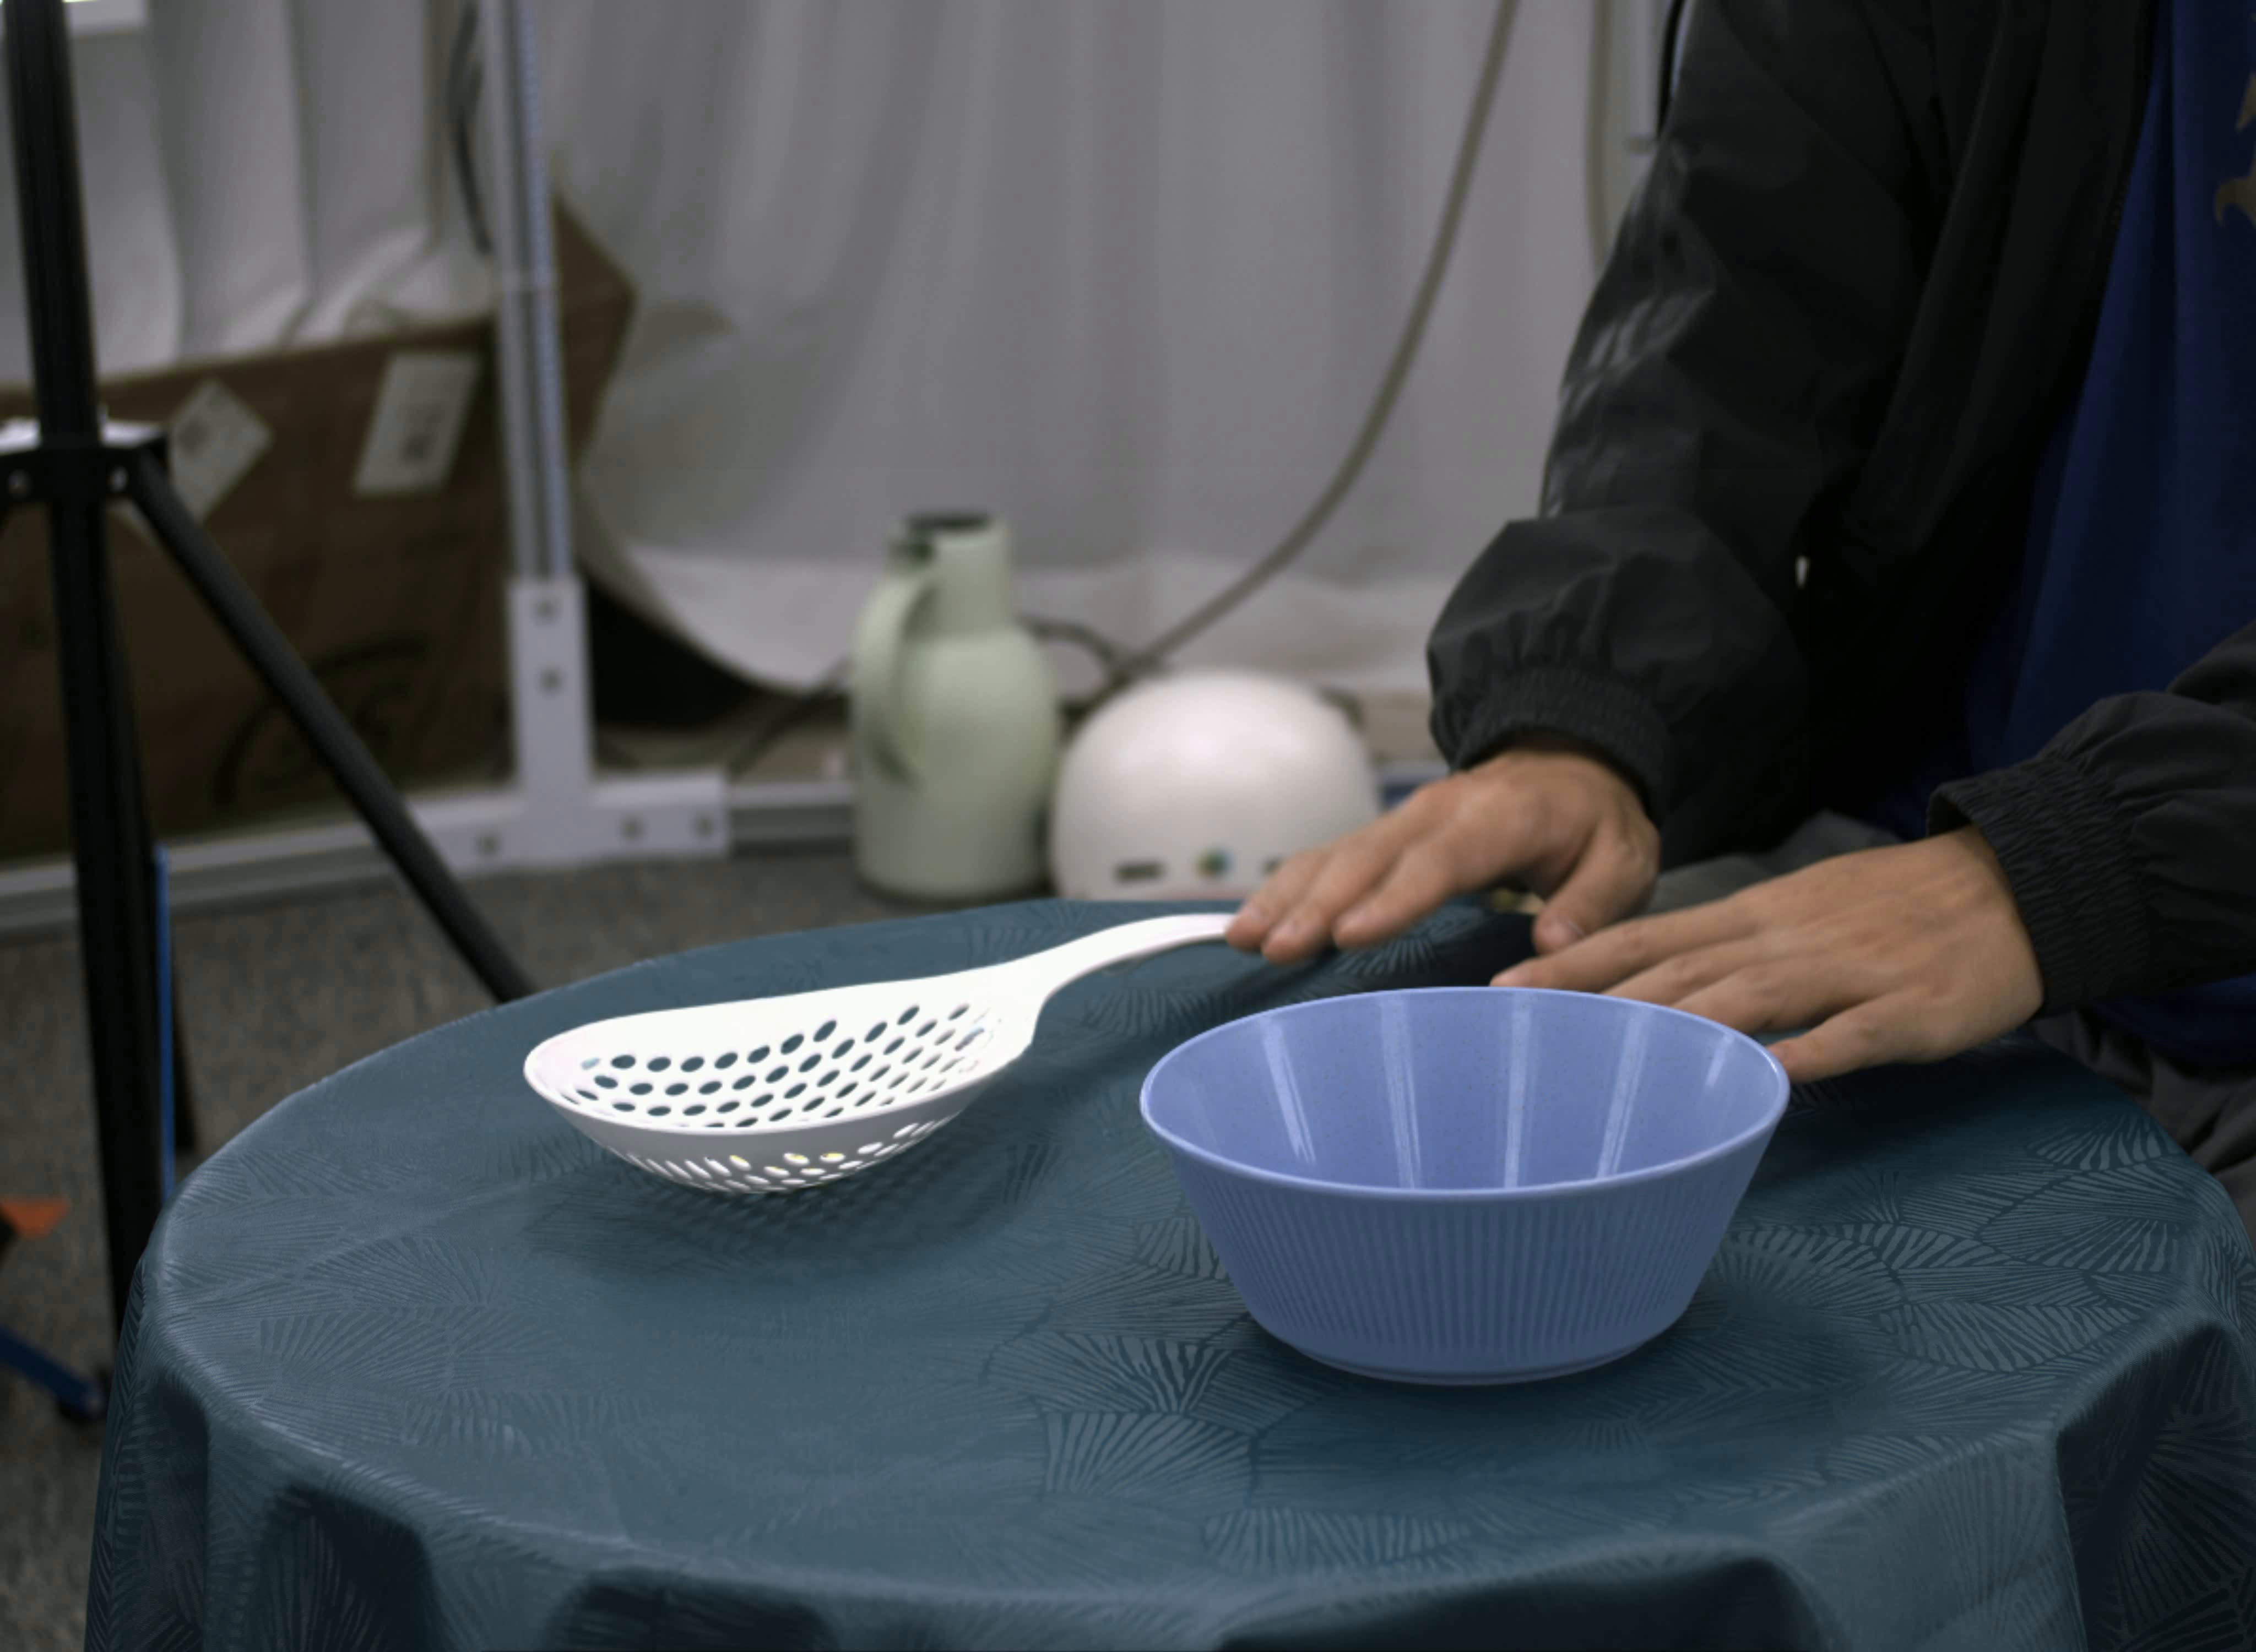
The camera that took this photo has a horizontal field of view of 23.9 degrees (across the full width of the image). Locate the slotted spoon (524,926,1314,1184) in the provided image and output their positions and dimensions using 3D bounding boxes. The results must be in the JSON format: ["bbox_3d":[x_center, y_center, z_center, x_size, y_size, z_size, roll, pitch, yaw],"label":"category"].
[{"bbox_3d":[-0.041,0.059,1.659,0.140,0.050,0.340,6,17,38],"label":"slotted spoon"}]

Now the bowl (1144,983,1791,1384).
[{"bbox_3d":[0.092,0.100,1.442,0.175,0.070,0.177,-2,16,-1],"label":"bowl"}]
